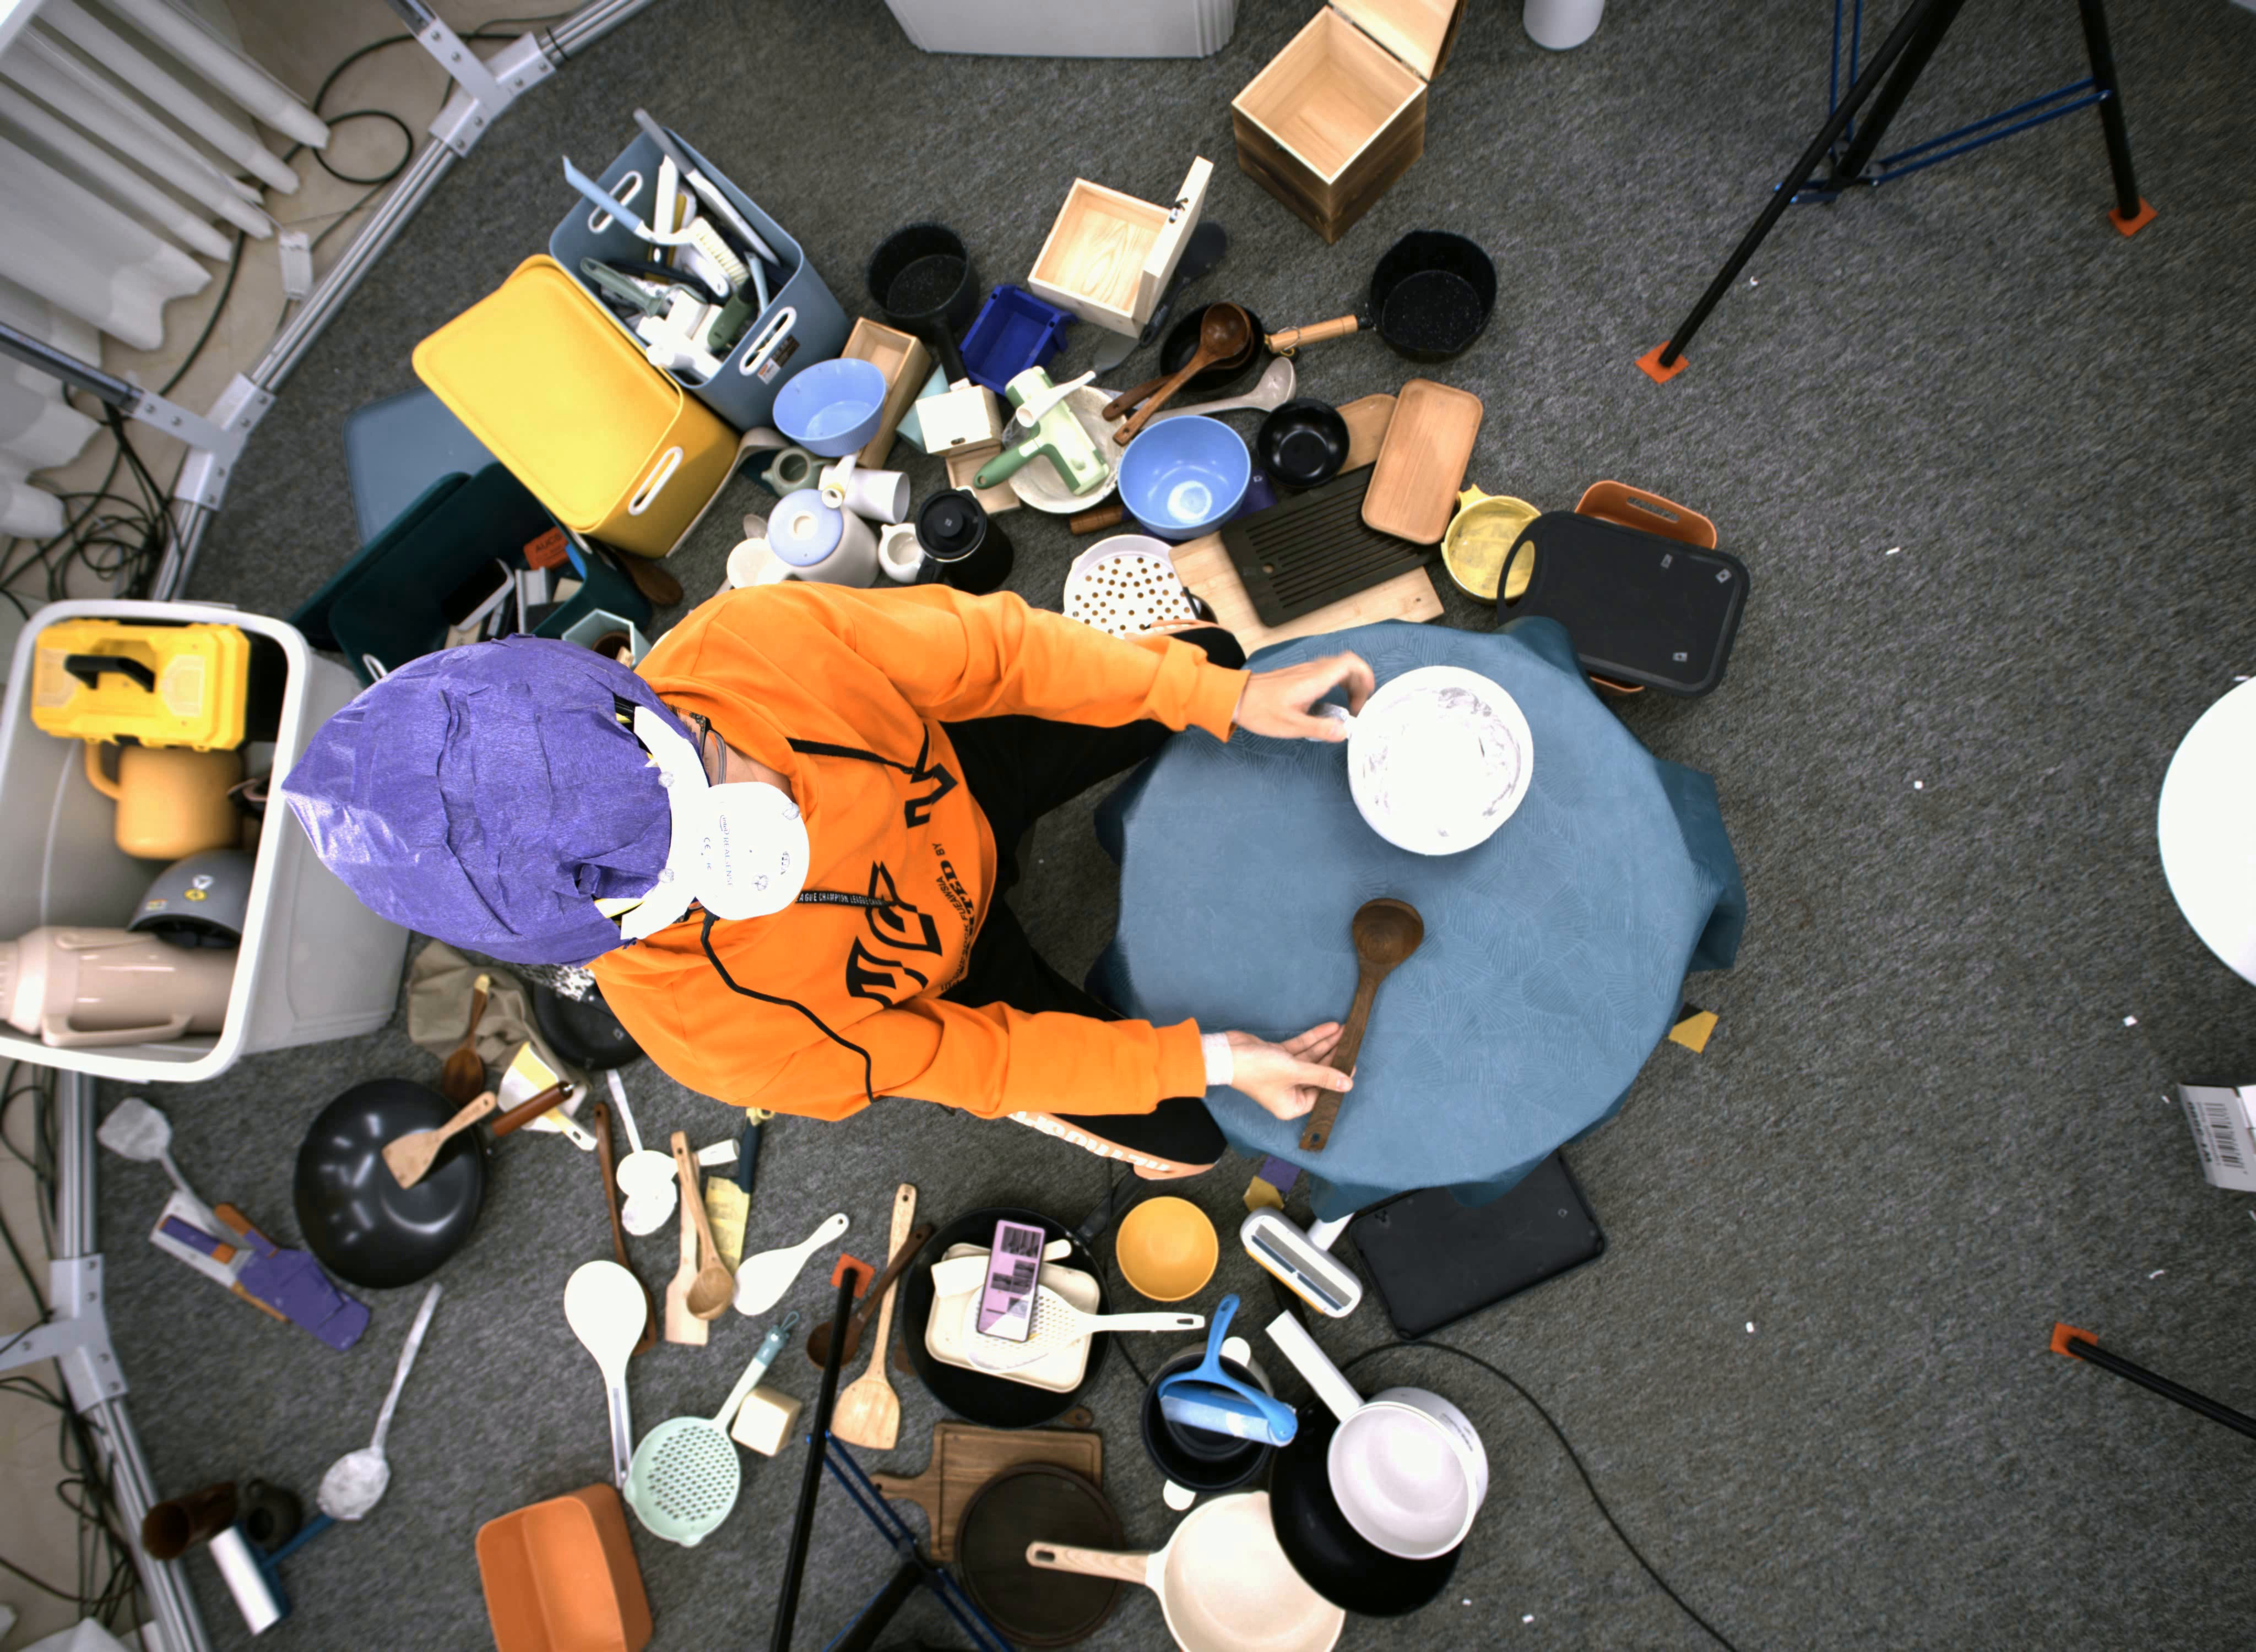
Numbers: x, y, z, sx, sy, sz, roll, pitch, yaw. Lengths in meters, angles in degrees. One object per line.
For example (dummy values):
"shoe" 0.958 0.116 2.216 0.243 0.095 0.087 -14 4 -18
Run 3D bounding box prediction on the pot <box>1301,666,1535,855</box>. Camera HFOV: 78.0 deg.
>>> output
"pot" 0.286 -0.073 1.395 0.234 0.137 0.178 21 89 10

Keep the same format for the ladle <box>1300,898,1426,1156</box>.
"ladle" 0.233 0.205 1.417 0.076 0.072 0.272 20 84 12
